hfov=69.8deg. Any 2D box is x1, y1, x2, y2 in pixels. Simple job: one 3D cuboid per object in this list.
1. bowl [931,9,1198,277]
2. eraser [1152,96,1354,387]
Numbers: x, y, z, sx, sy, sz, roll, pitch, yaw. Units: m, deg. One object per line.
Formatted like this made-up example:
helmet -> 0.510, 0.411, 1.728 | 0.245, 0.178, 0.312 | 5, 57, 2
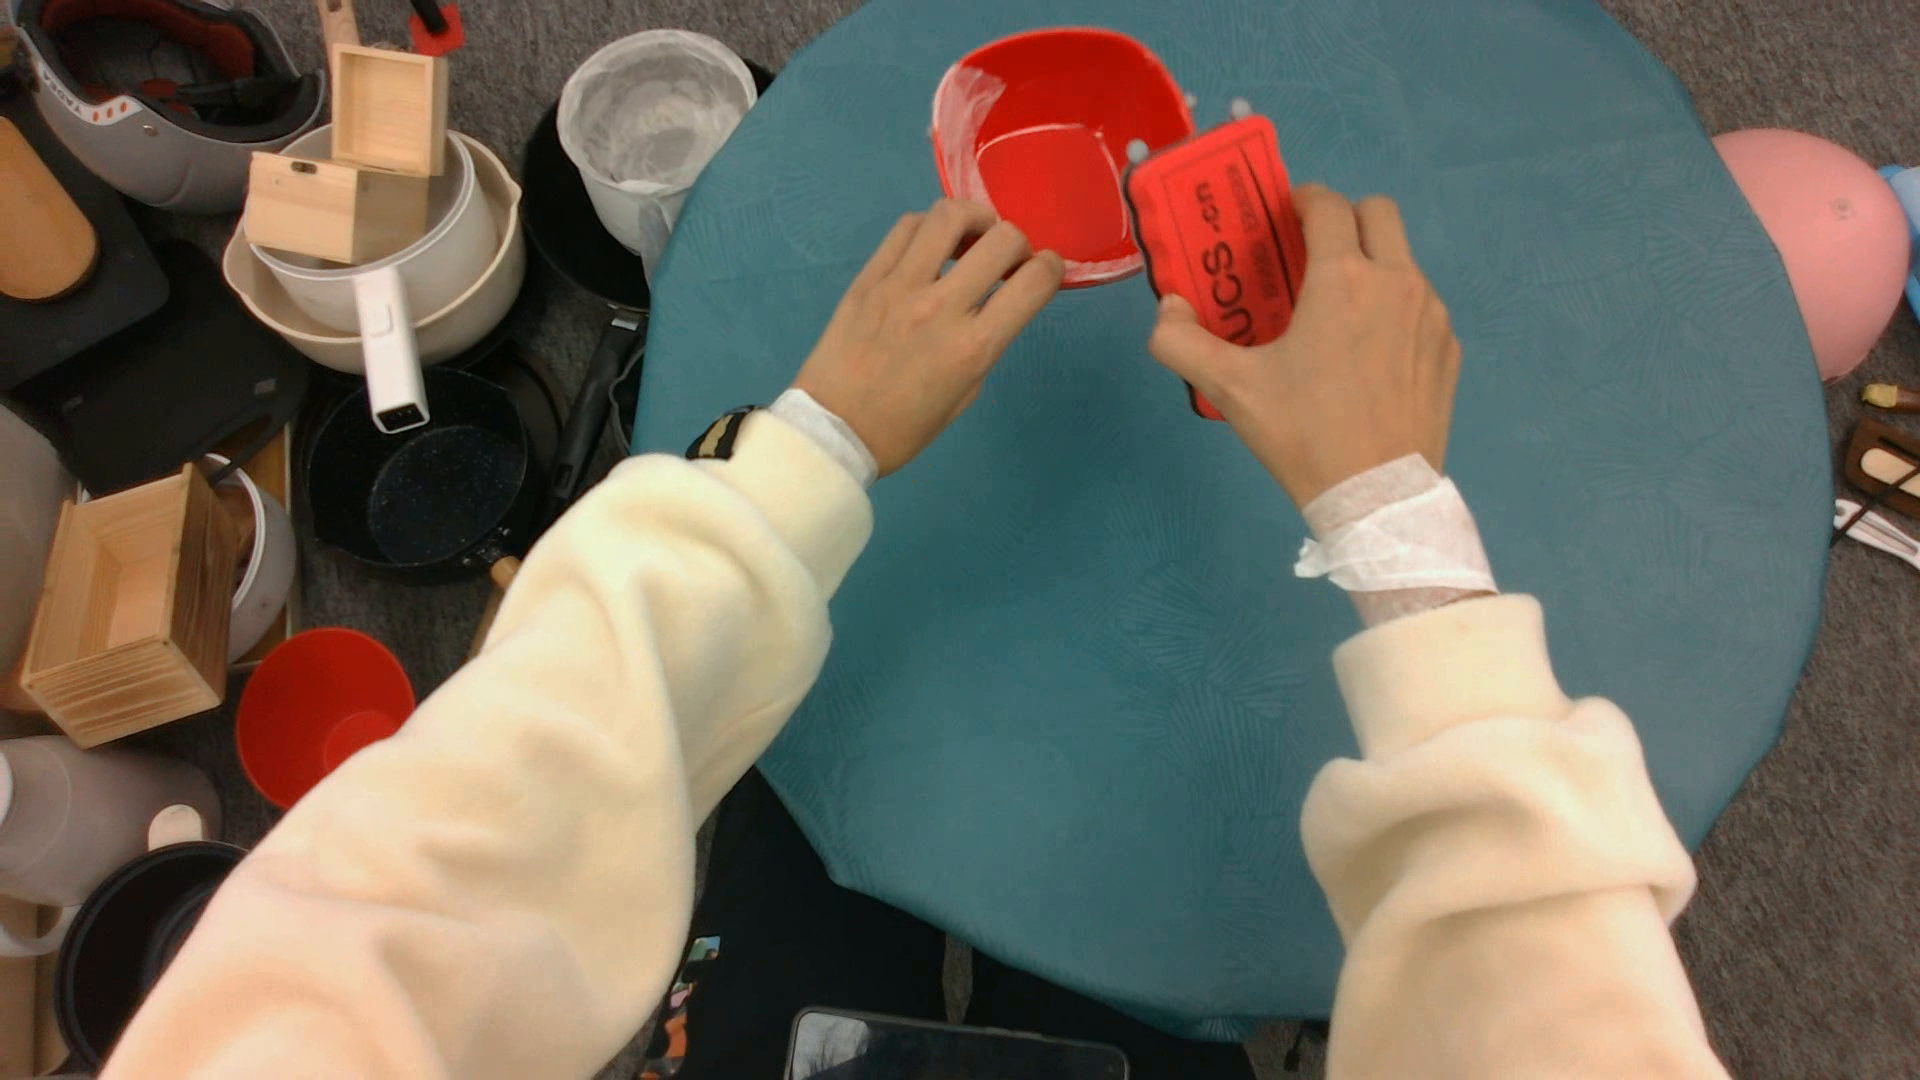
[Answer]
bowl -> 0.040, -0.158, 0.577 | 0.119, 0.051, 0.119 | 2, 81, -10
eraser -> 0.119, -0.120, 0.558 | 0.059, 0.023, 0.108 | -22, 101, -14
